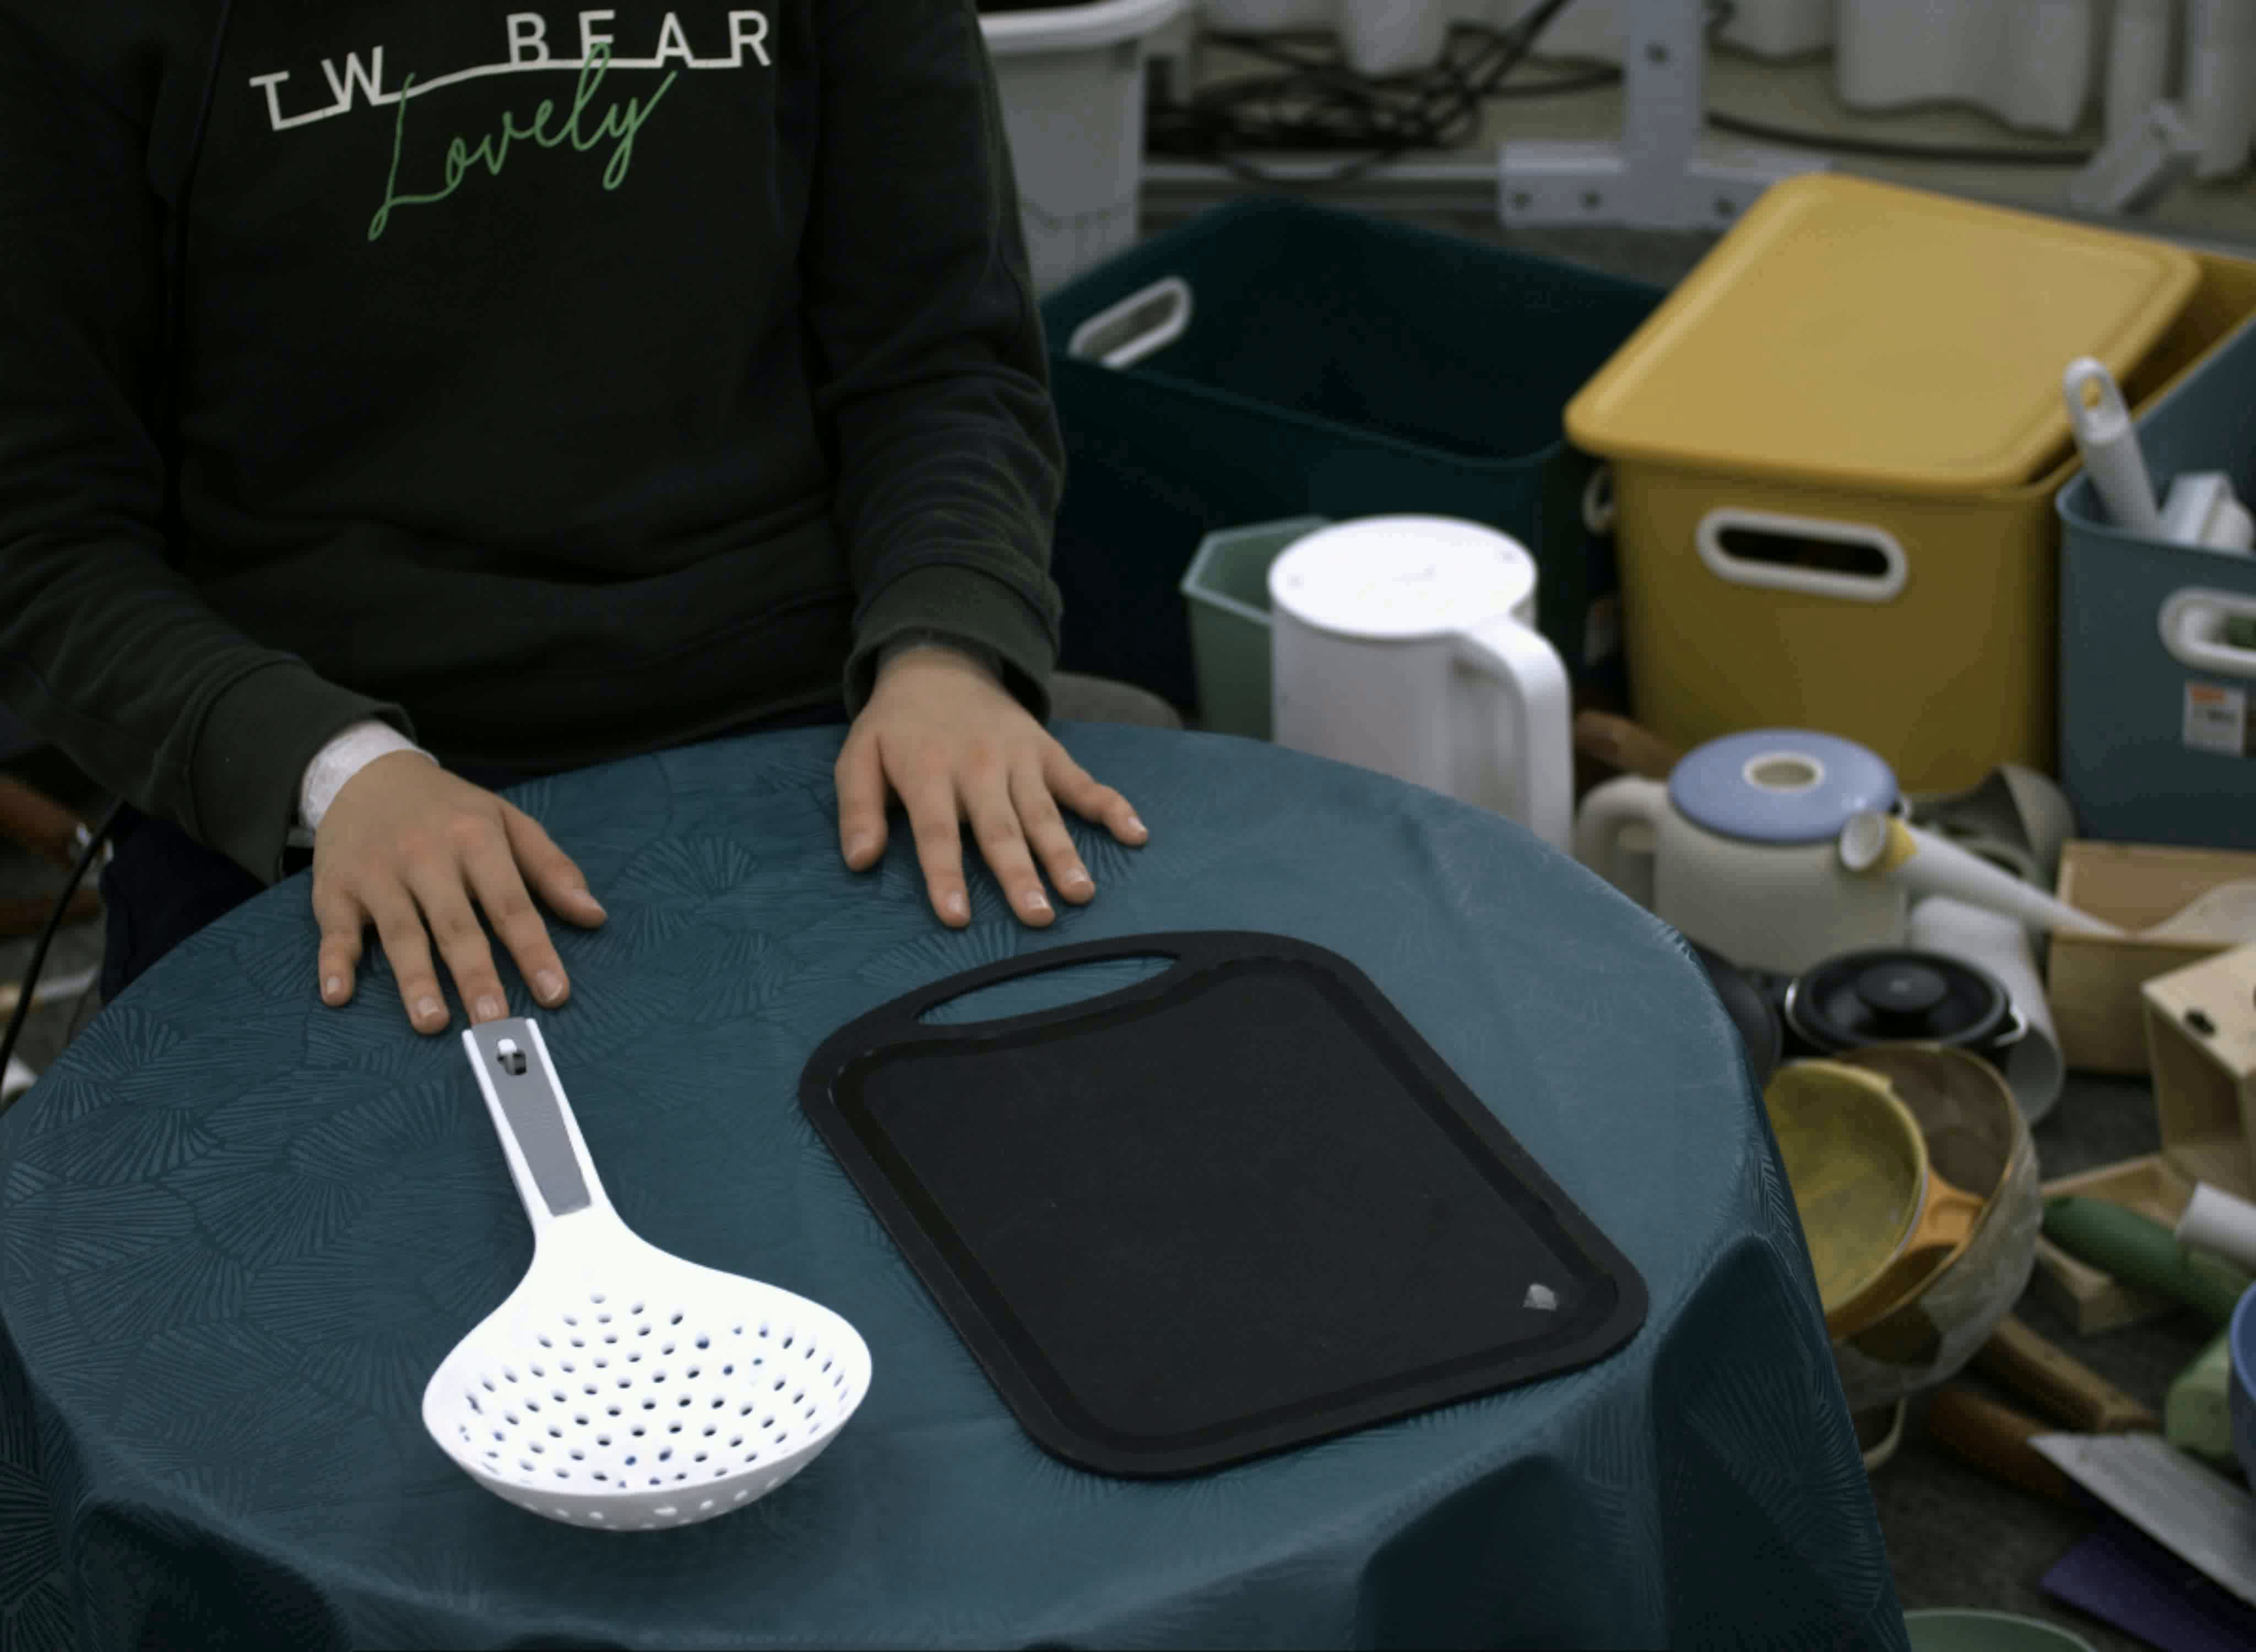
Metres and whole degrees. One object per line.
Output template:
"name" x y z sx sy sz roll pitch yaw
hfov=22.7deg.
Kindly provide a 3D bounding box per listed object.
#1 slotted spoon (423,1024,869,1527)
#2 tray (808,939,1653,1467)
"slotted spoon" -0.173 0.137 1.799 0.136 0.045 0.353 -7 27 -13
"tray" 0.024 0.115 1.864 0.211 0.009 0.328 -12 28 -18
